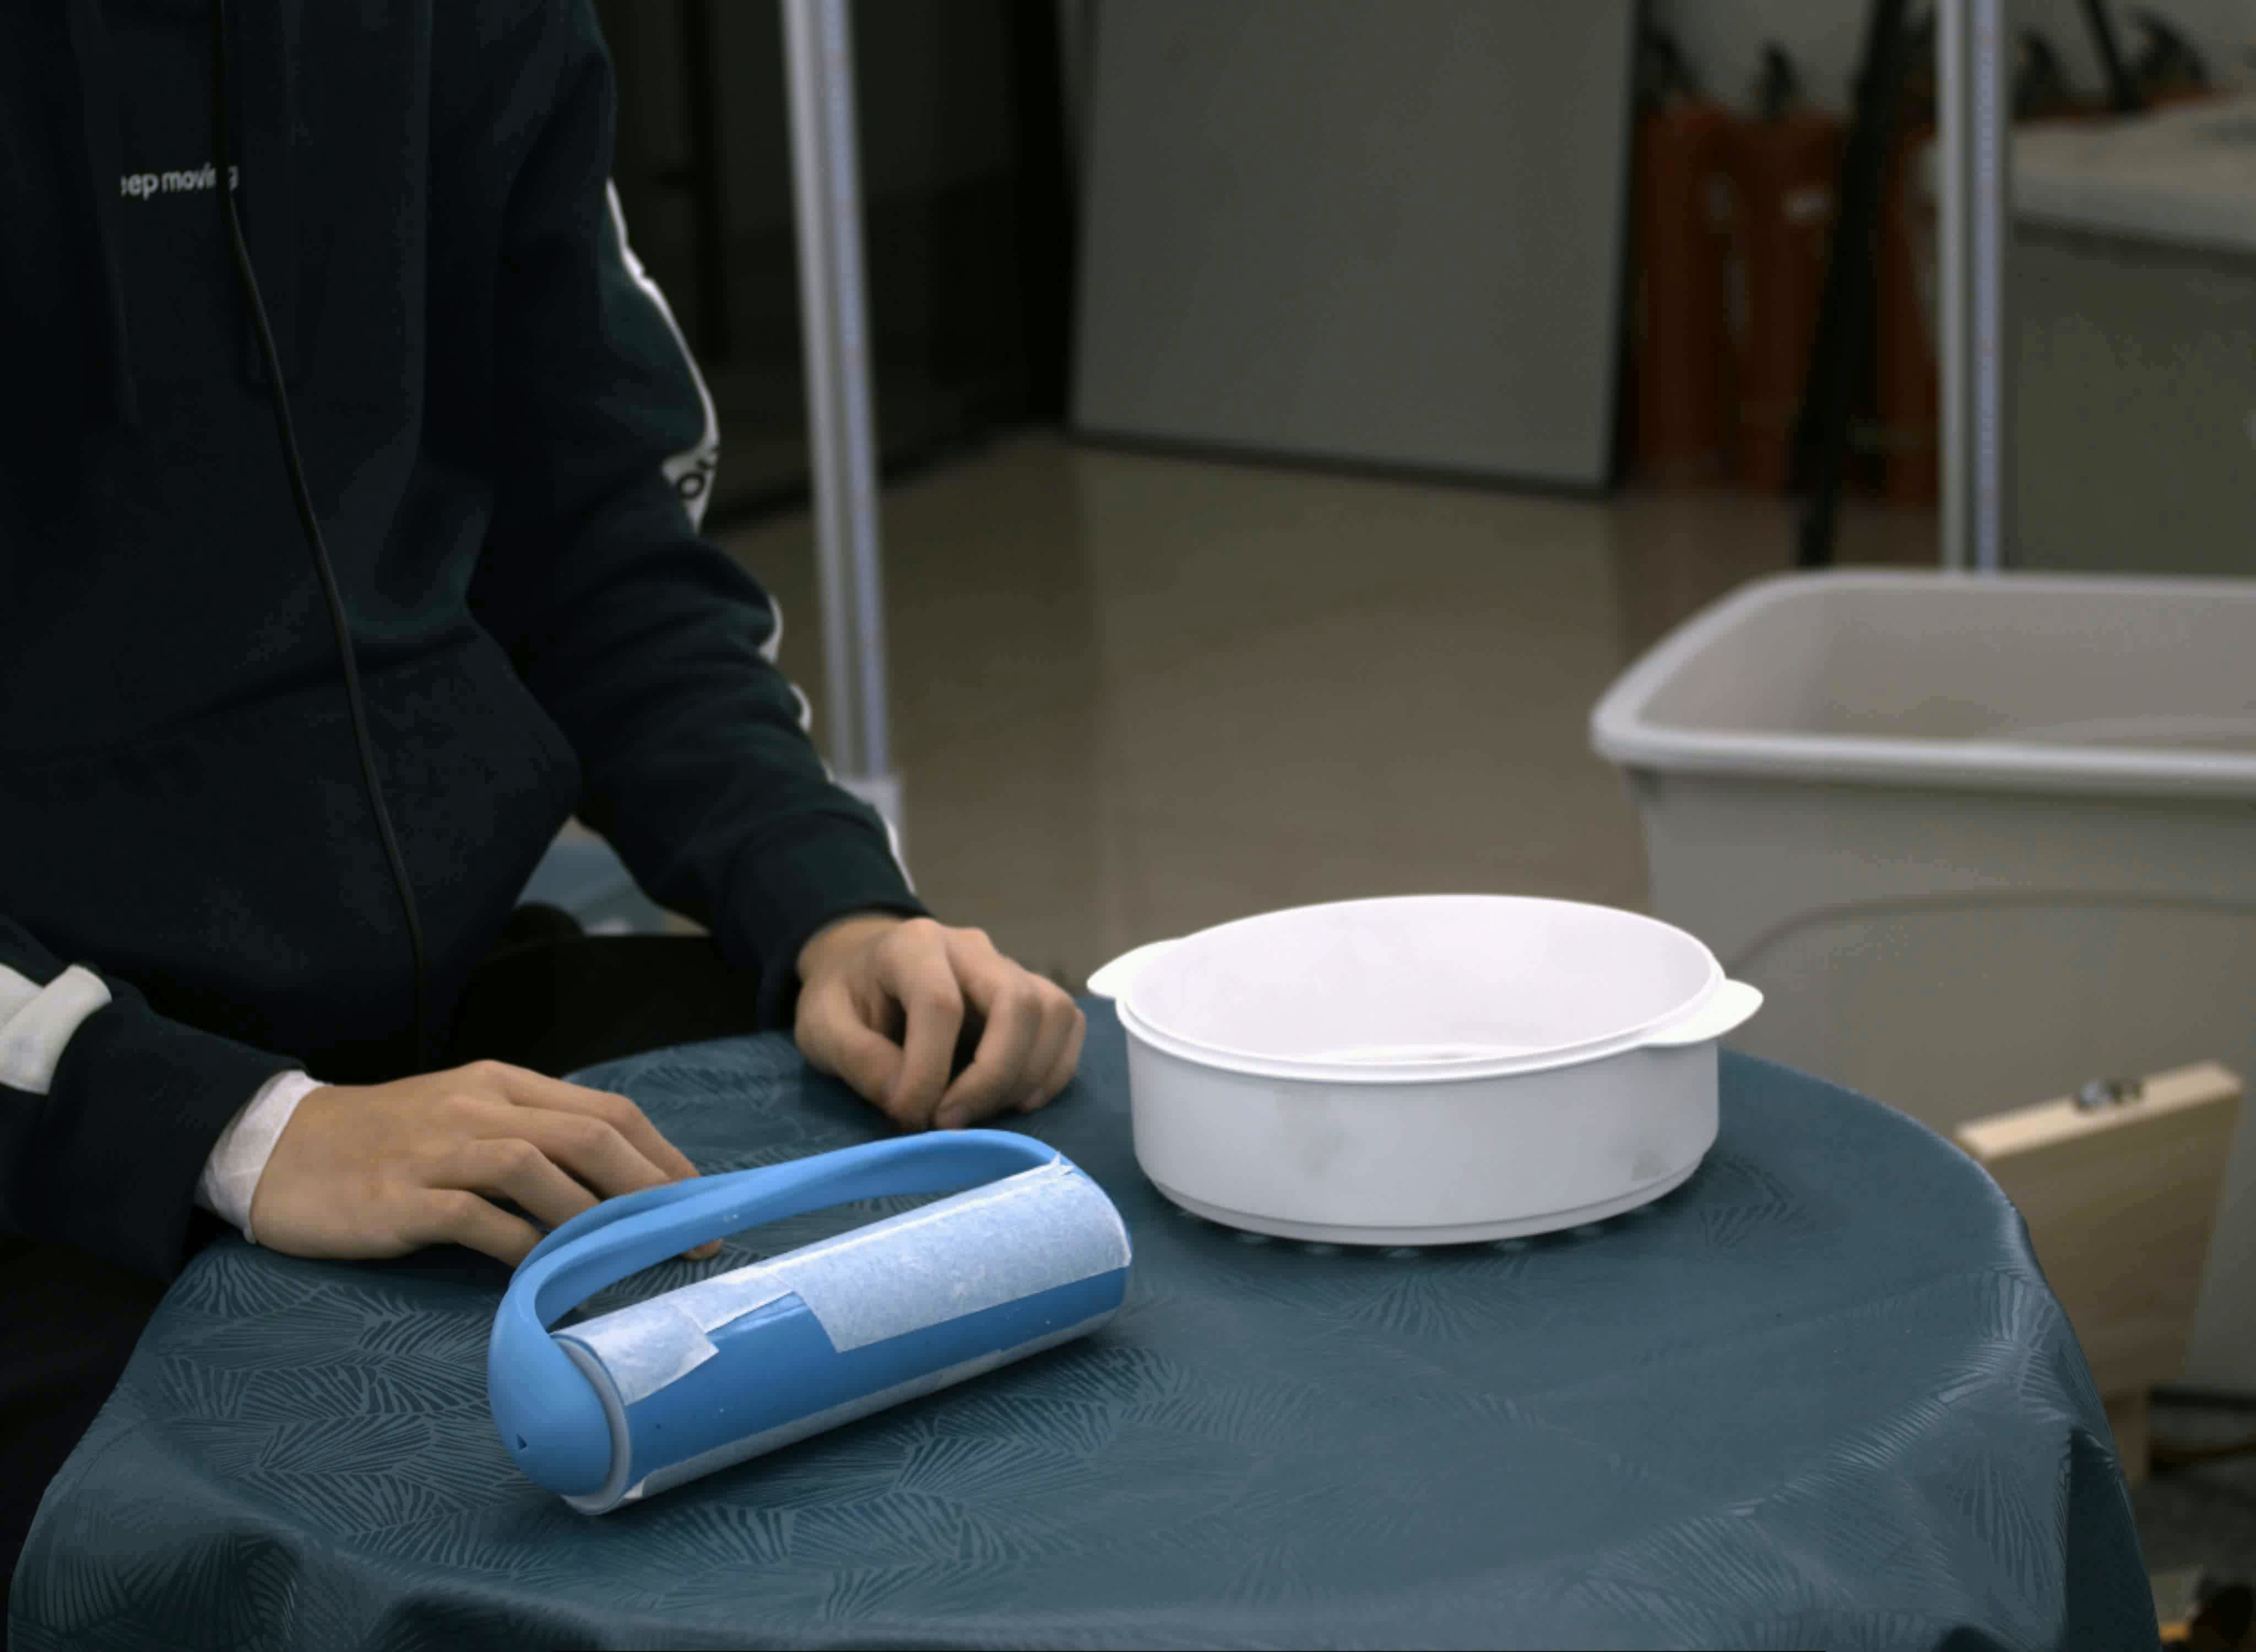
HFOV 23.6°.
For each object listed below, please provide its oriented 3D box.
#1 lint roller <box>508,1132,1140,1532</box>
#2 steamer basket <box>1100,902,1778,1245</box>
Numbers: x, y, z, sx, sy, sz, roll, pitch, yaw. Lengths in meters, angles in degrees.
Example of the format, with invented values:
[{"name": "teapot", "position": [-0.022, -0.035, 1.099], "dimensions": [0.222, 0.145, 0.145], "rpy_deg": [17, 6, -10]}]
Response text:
[{"name": "lint roller", "position": [-0.125, 0.141, 1.614], "dimensions": [0.182, 0.068, 0.224], "rpy_deg": [10, 22, 43]}, {"name": "steamer basket", "position": [0.101, 0.081, 1.761], "dimensions": [0.231, 0.070, 0.199], "rpy_deg": [2, 14, 28]}]
